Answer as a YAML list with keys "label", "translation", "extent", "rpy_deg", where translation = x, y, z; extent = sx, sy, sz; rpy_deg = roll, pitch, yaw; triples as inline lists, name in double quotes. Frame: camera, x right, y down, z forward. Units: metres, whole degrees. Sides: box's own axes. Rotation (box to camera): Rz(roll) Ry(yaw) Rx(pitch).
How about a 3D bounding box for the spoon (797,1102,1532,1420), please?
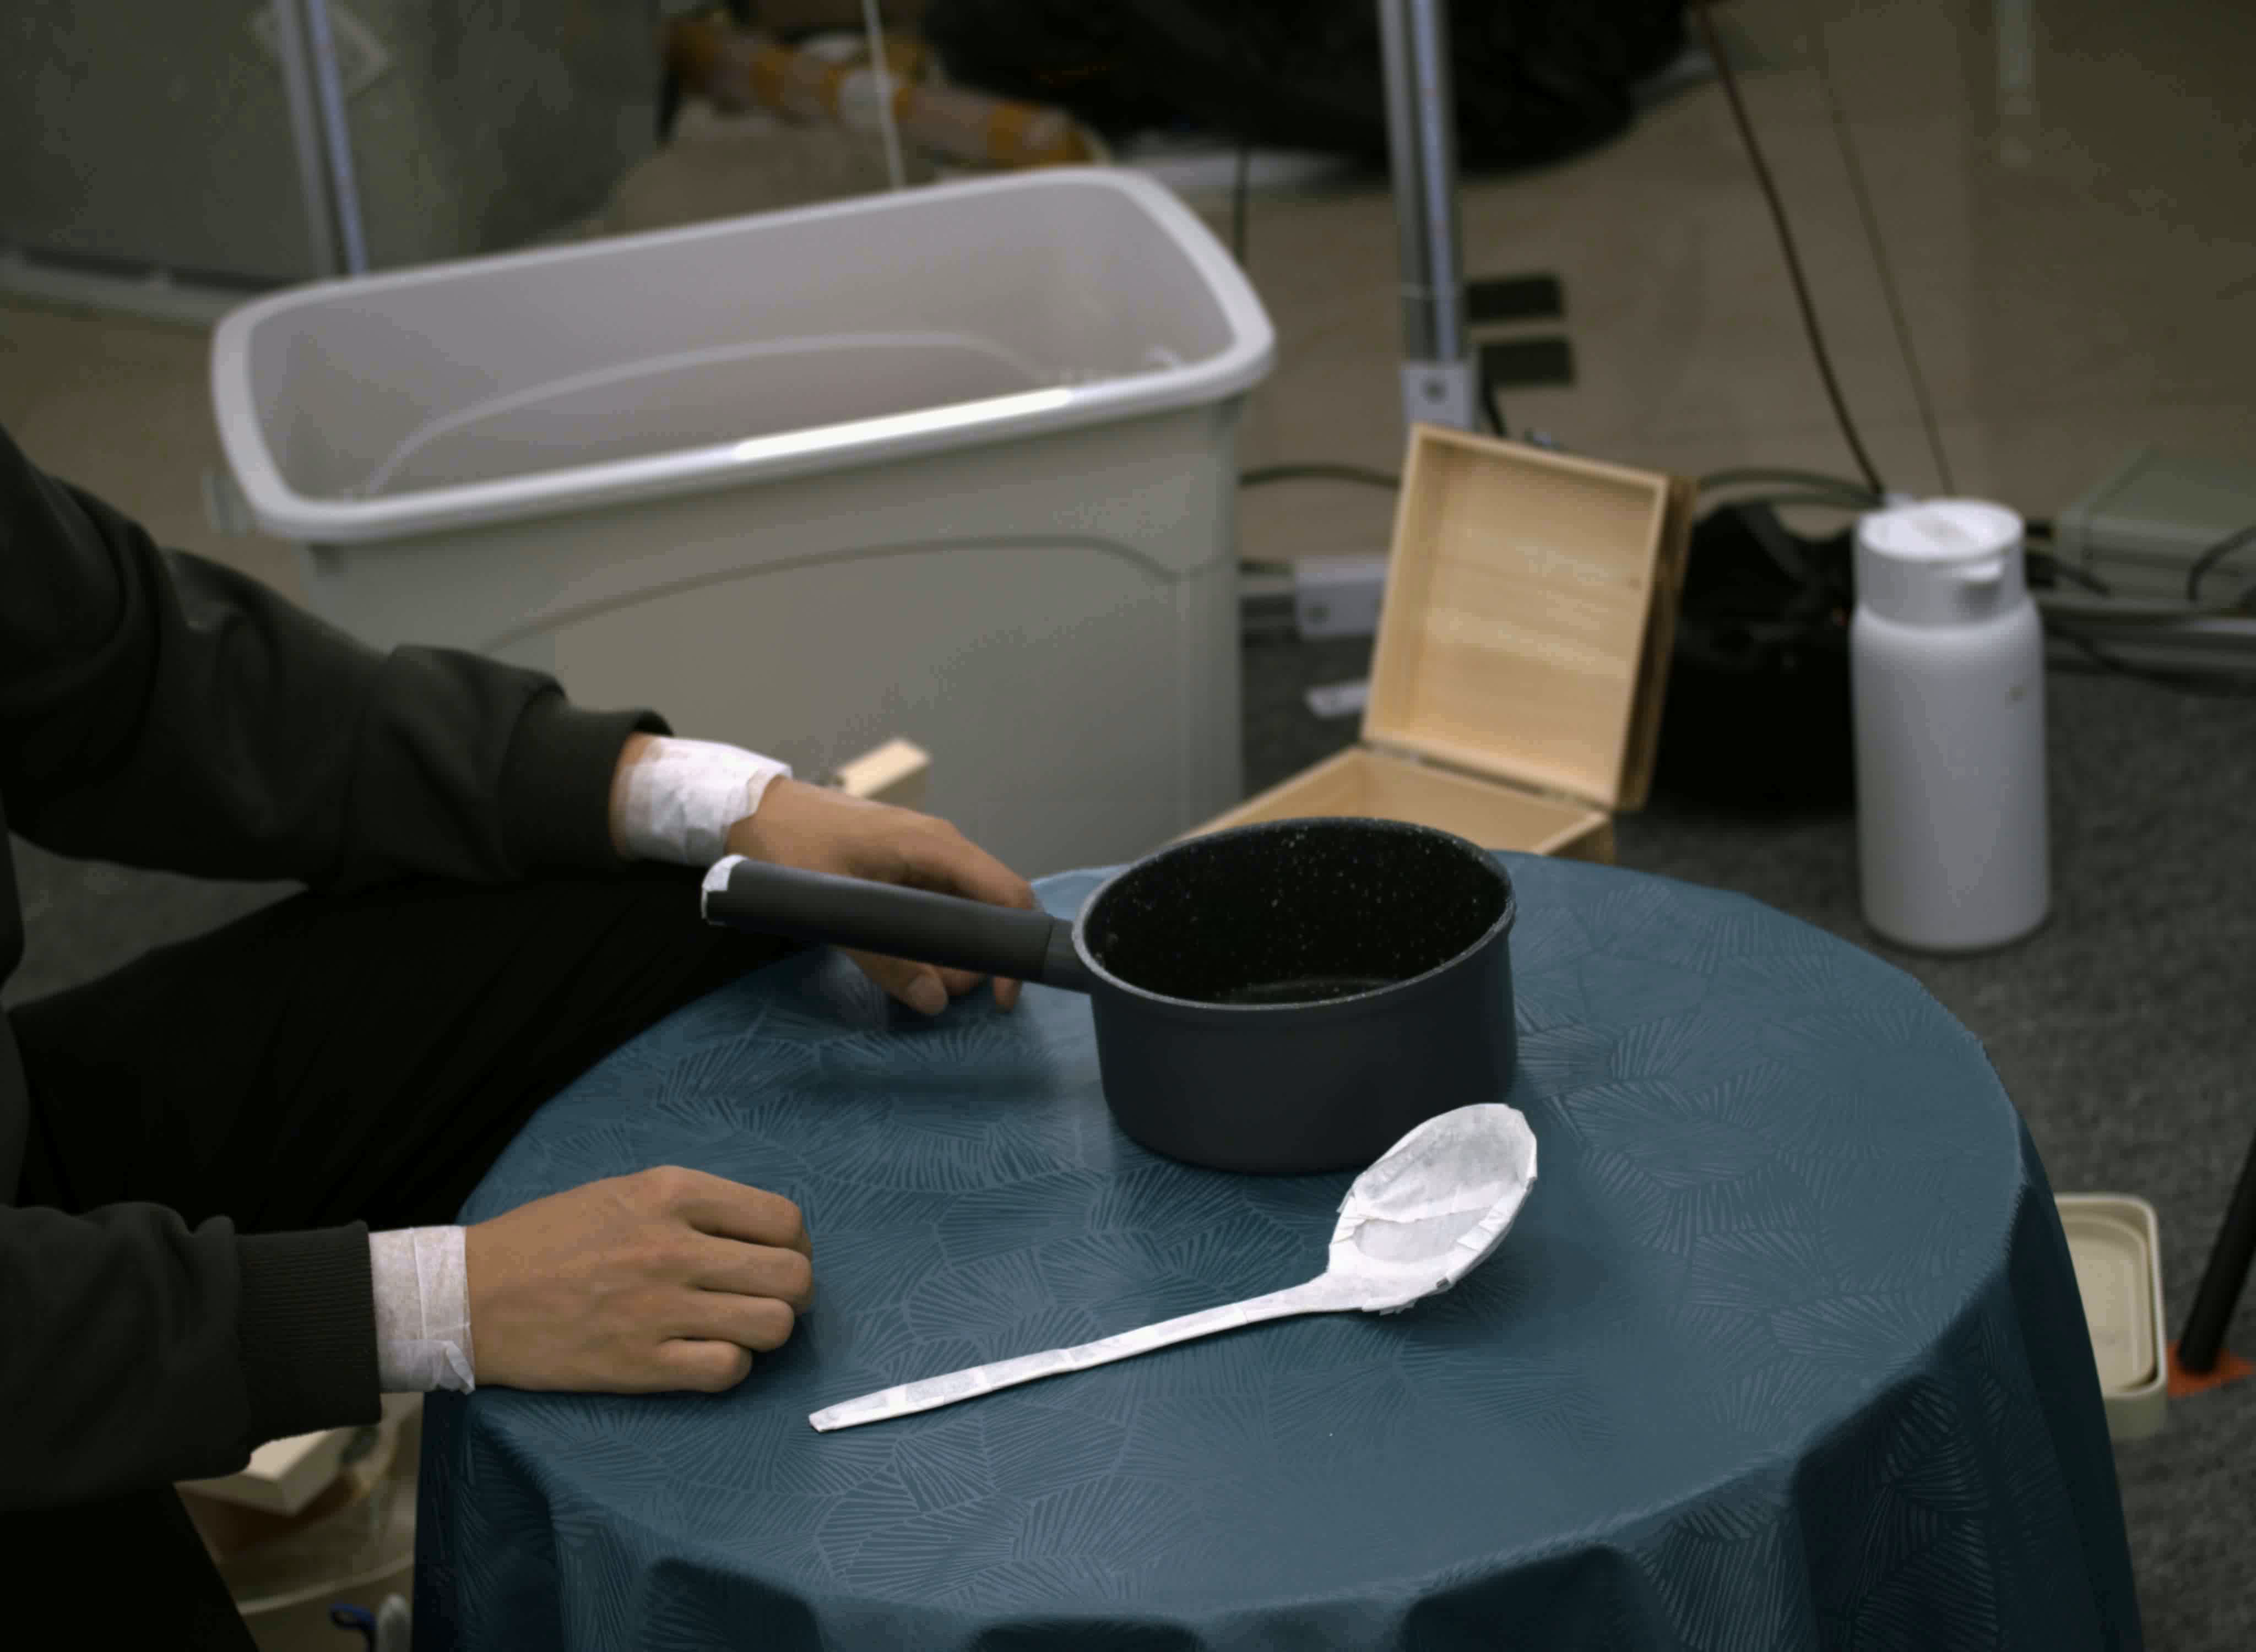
- label: "spoon"
  translation: [0.012, 0.156, 2.042]
  extent: [0.277, 0.060, 0.099]
  rpy_deg: [-11, 23, -9]

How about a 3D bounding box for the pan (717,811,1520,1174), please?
- label: "pan"
  translation: [-0.006, 0.059, 2.226]
  extent: [0.328, 0.088, 0.170]
  rpy_deg: [4, 26, 20]
